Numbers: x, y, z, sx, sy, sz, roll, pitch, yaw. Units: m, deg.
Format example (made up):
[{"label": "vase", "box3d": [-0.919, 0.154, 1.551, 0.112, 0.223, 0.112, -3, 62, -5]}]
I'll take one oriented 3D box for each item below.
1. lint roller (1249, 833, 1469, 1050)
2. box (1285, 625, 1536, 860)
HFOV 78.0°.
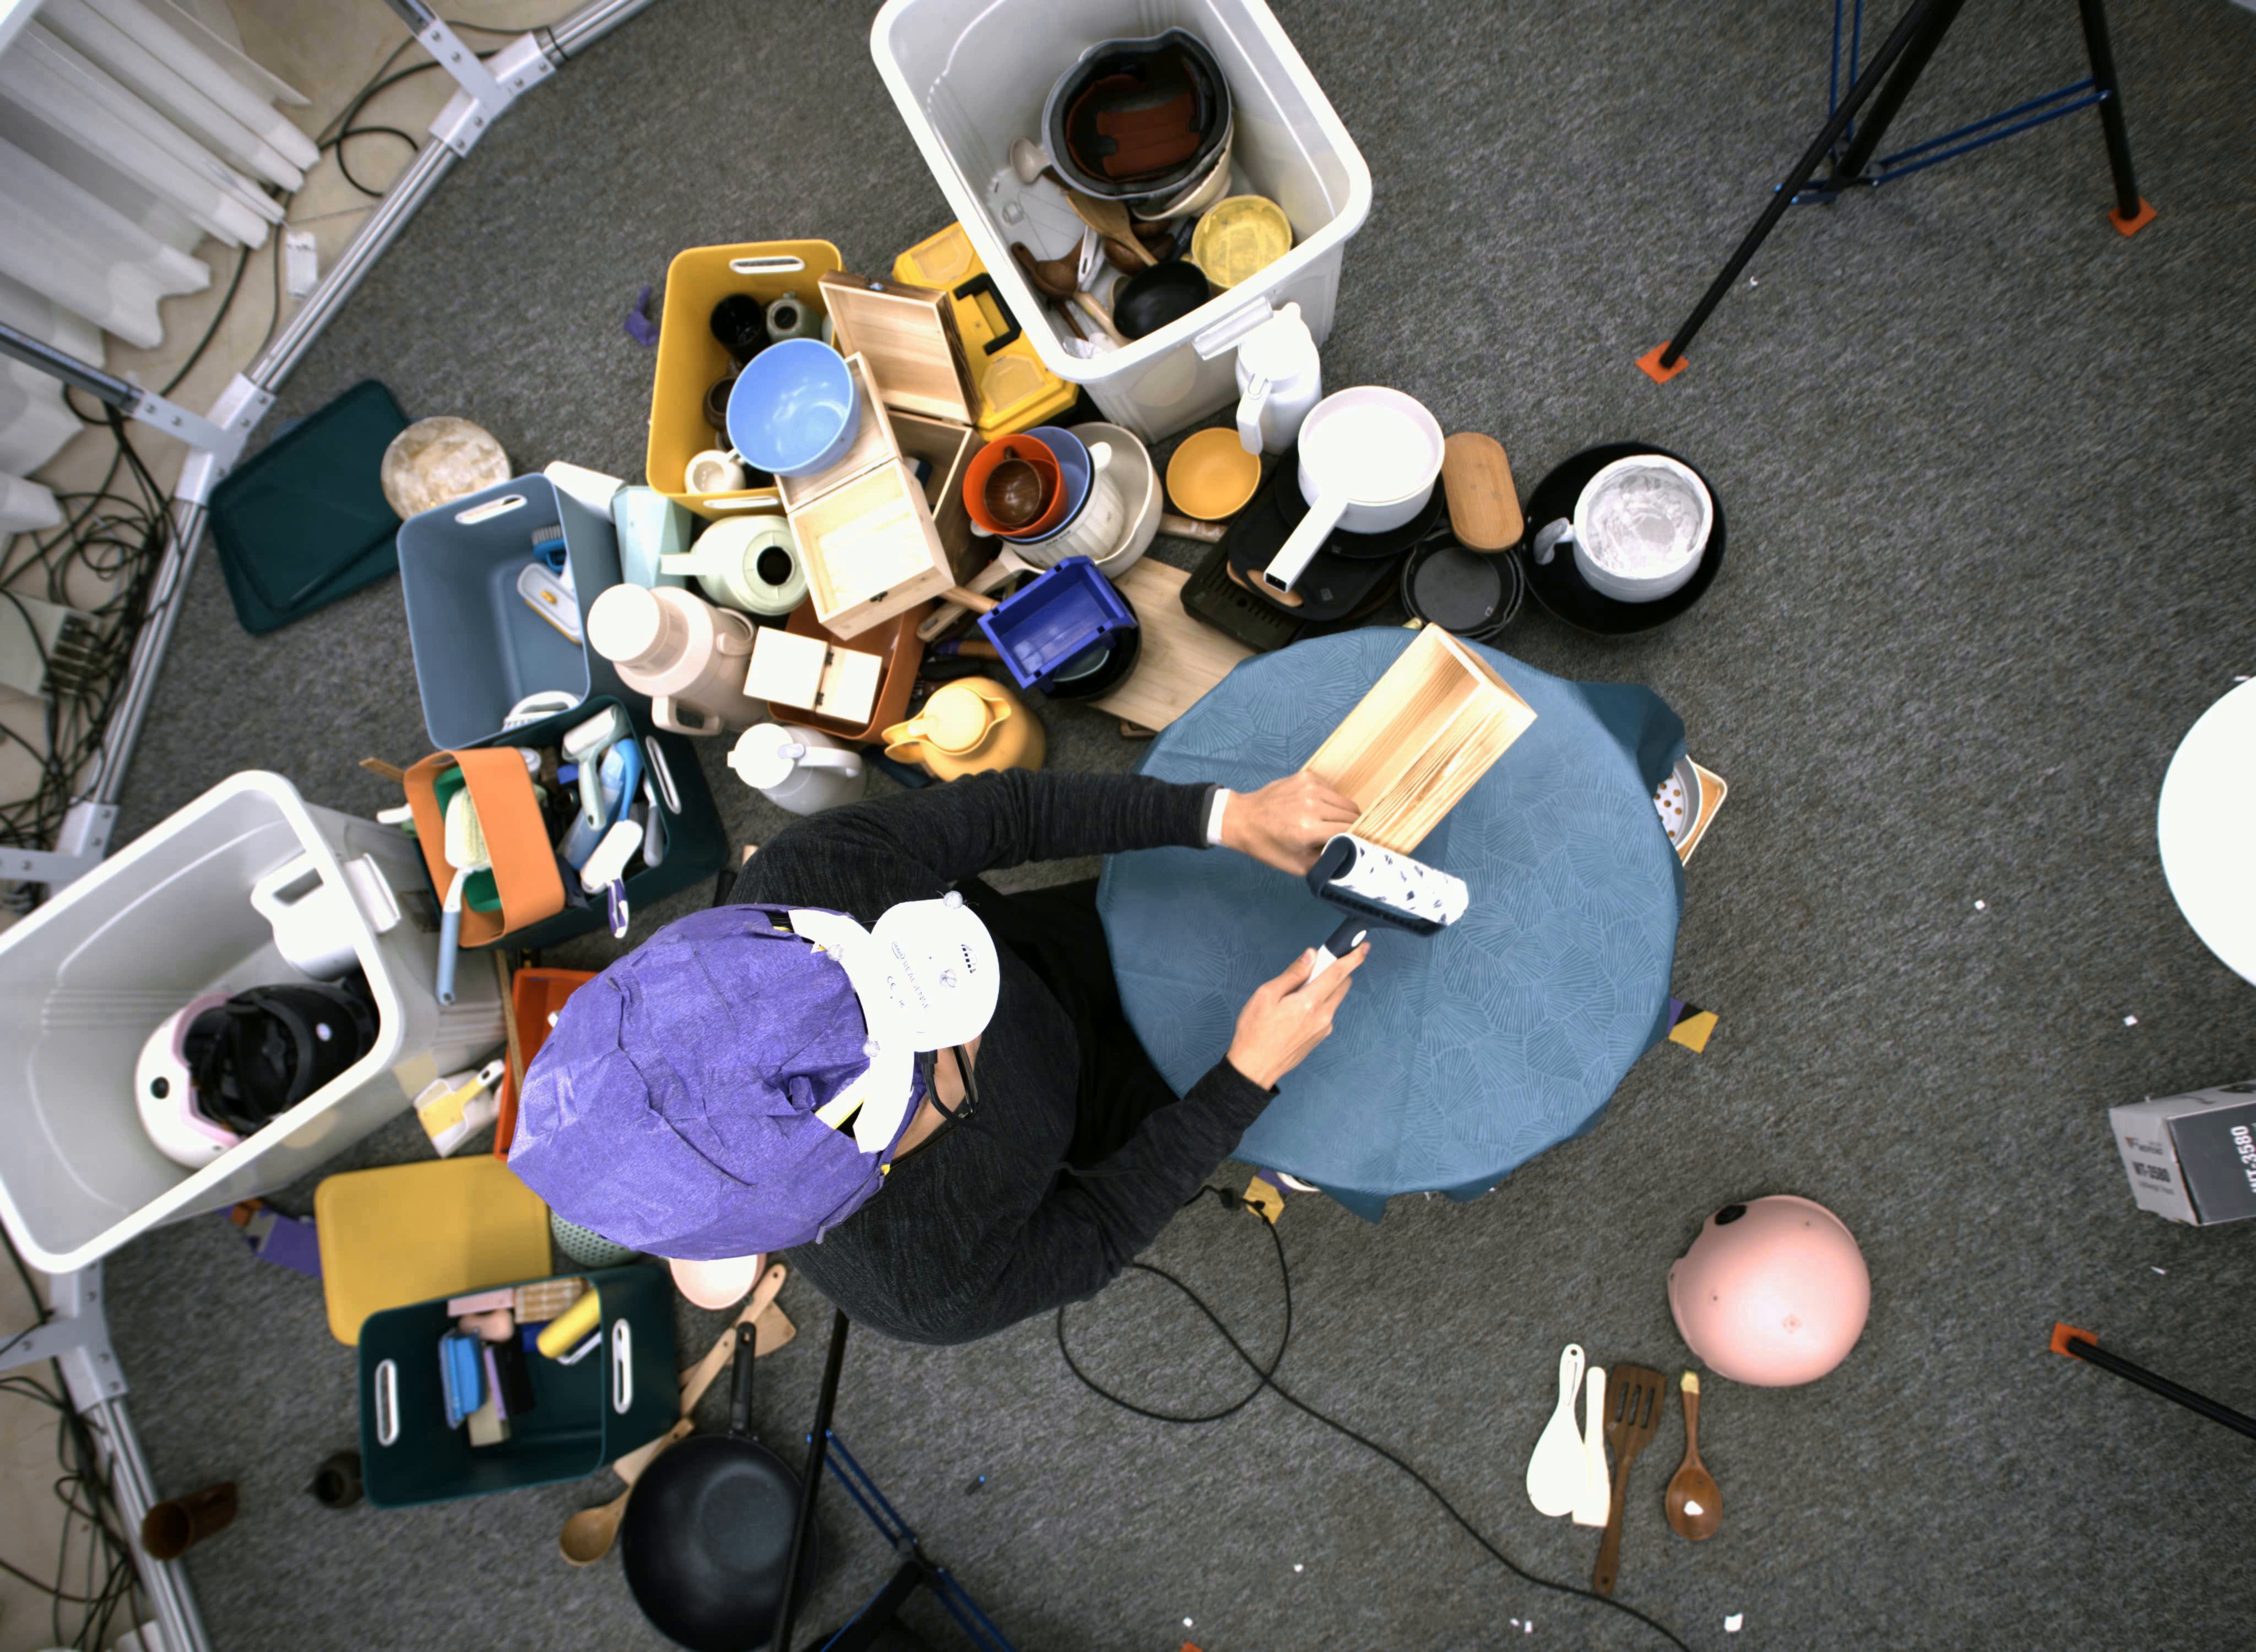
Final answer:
[{"label": "lint roller", "box3d": [0.196, 0.126, 1.313, 0.251, 0.176, 0.049, -55, 40, 22]}, {"label": "box", "box3d": [0.259, -0.067, 1.282, 0.215, 0.080, 0.105, -51, 39, 20]}]
